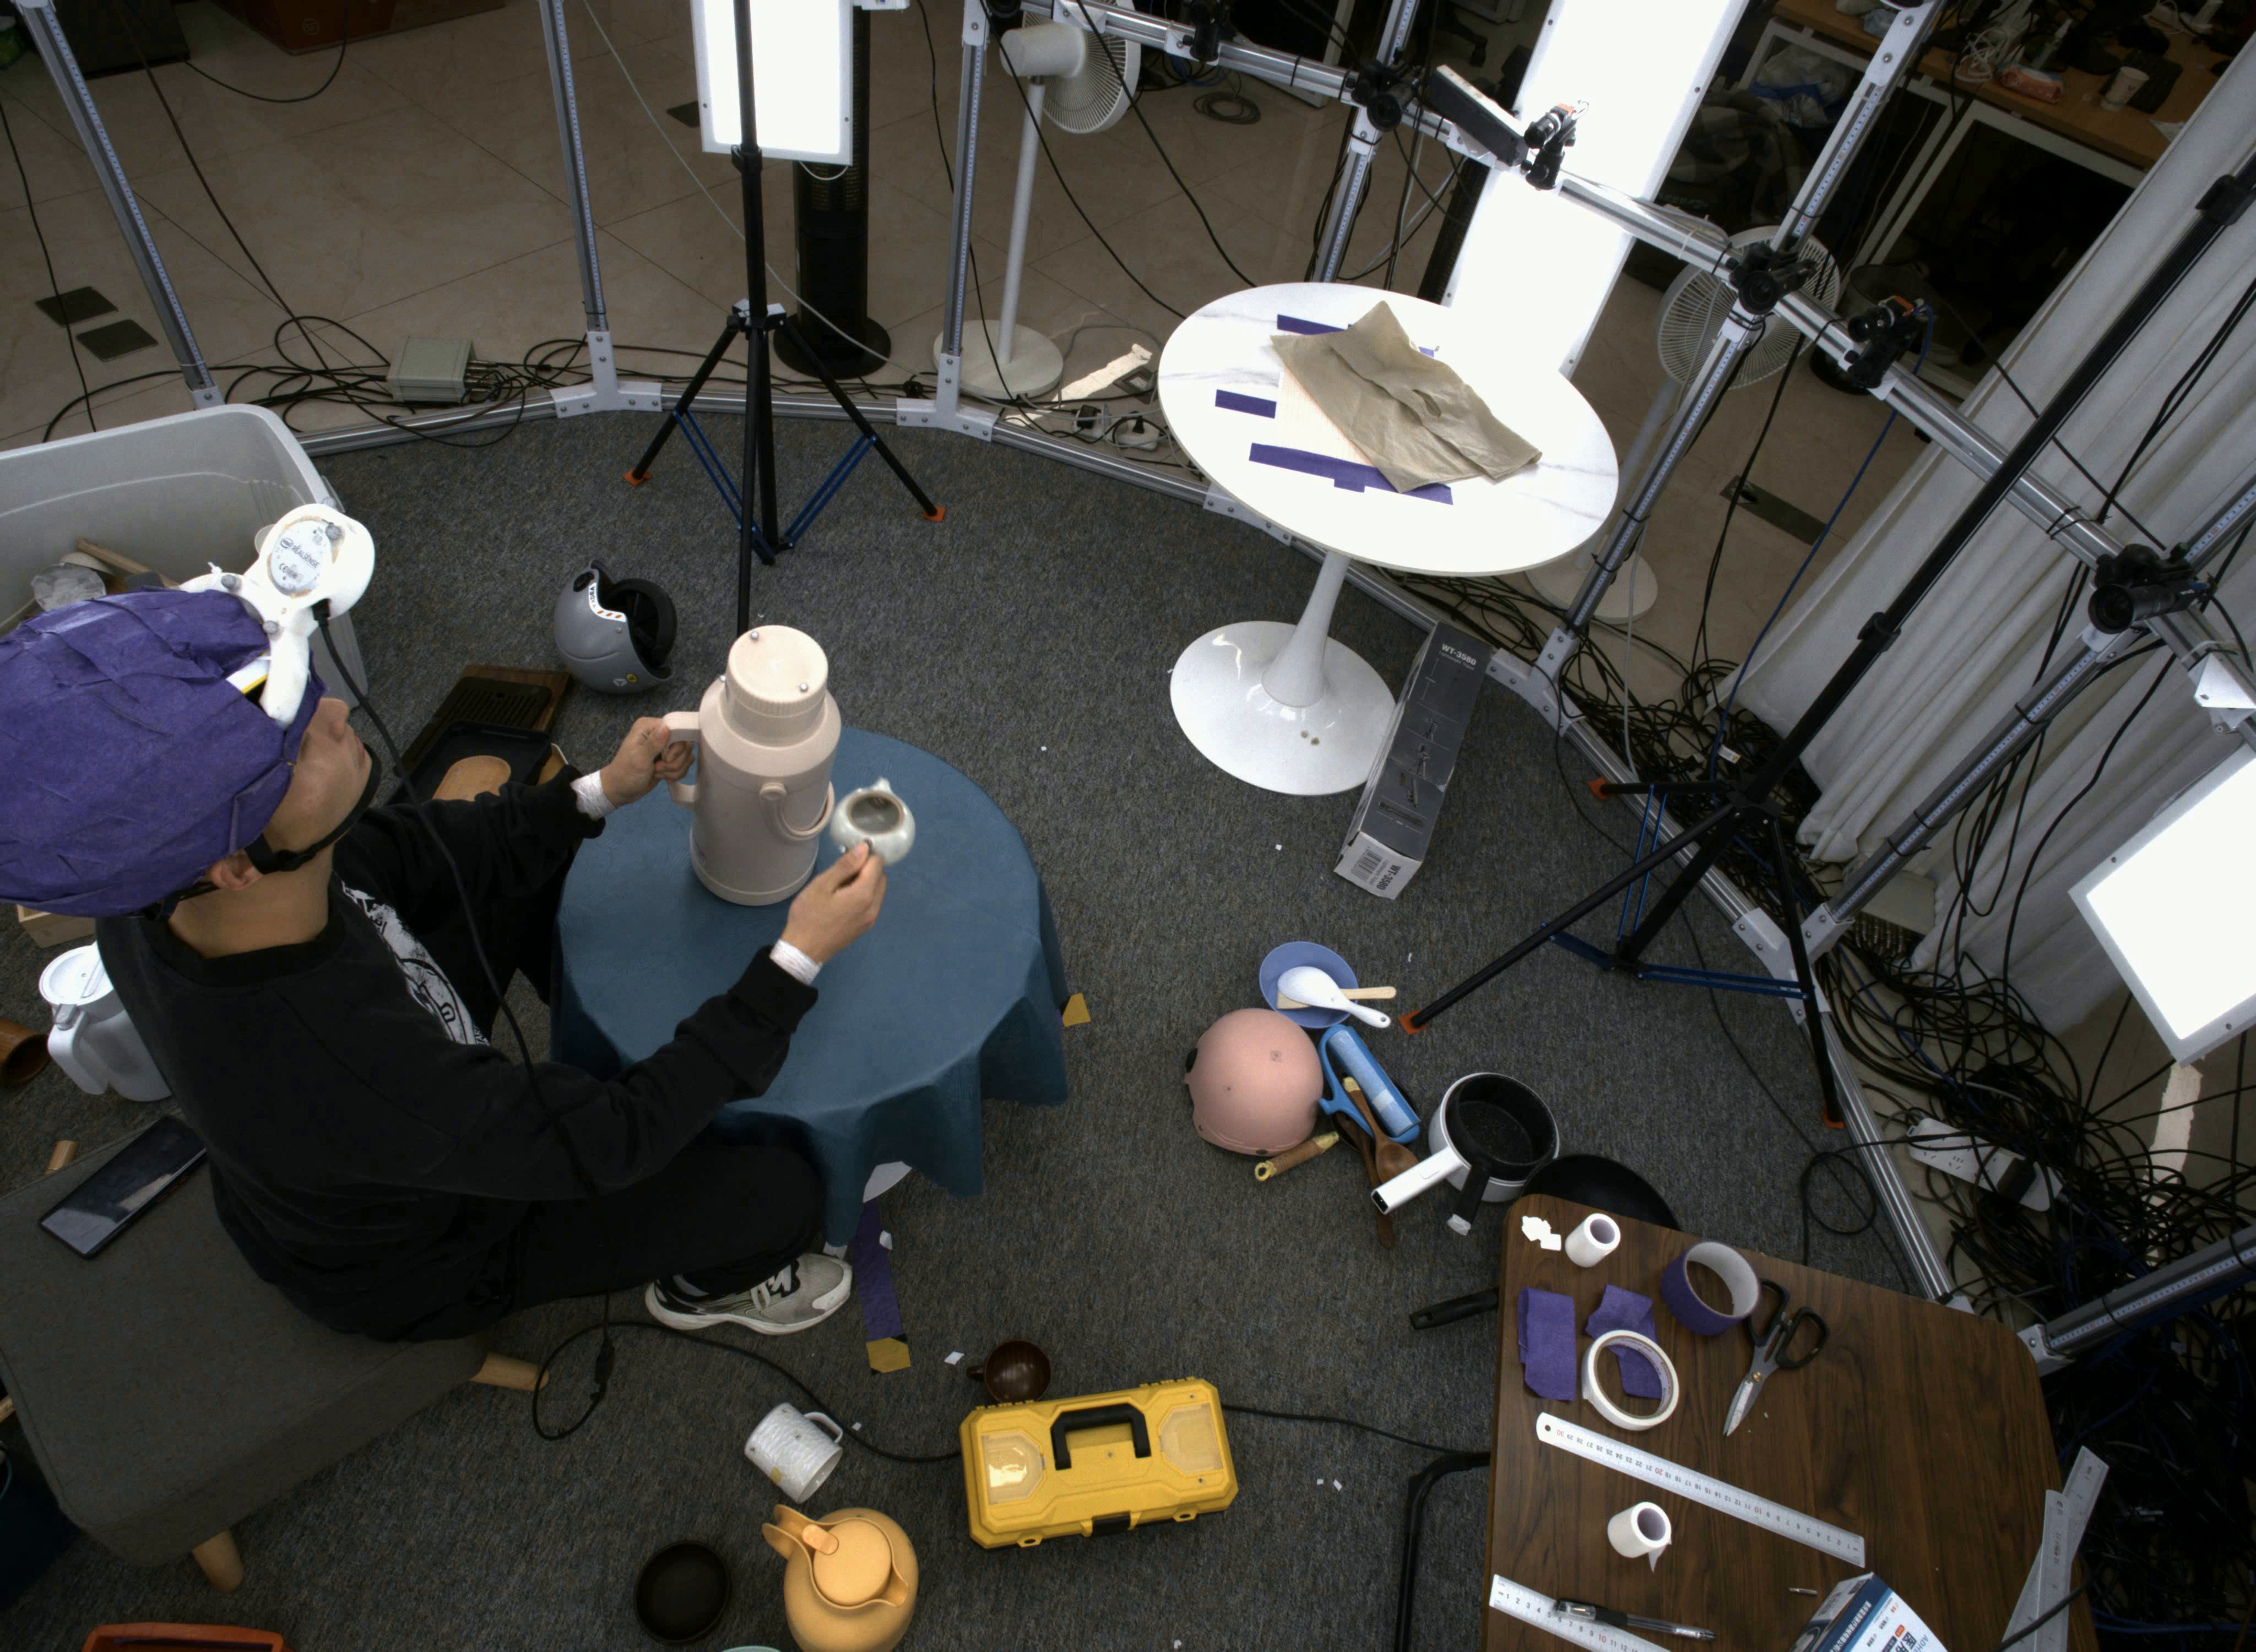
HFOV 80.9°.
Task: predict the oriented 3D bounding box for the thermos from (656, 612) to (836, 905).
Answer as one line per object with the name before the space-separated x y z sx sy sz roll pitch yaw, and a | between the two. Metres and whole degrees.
thermos | -0.442 -0.075 1.502 0.209 0.410 0.172 -2 60 -21

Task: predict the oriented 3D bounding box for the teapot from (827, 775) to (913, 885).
teapot | -0.278 0.007 1.391 0.092 0.060 0.126 15 47 -12
